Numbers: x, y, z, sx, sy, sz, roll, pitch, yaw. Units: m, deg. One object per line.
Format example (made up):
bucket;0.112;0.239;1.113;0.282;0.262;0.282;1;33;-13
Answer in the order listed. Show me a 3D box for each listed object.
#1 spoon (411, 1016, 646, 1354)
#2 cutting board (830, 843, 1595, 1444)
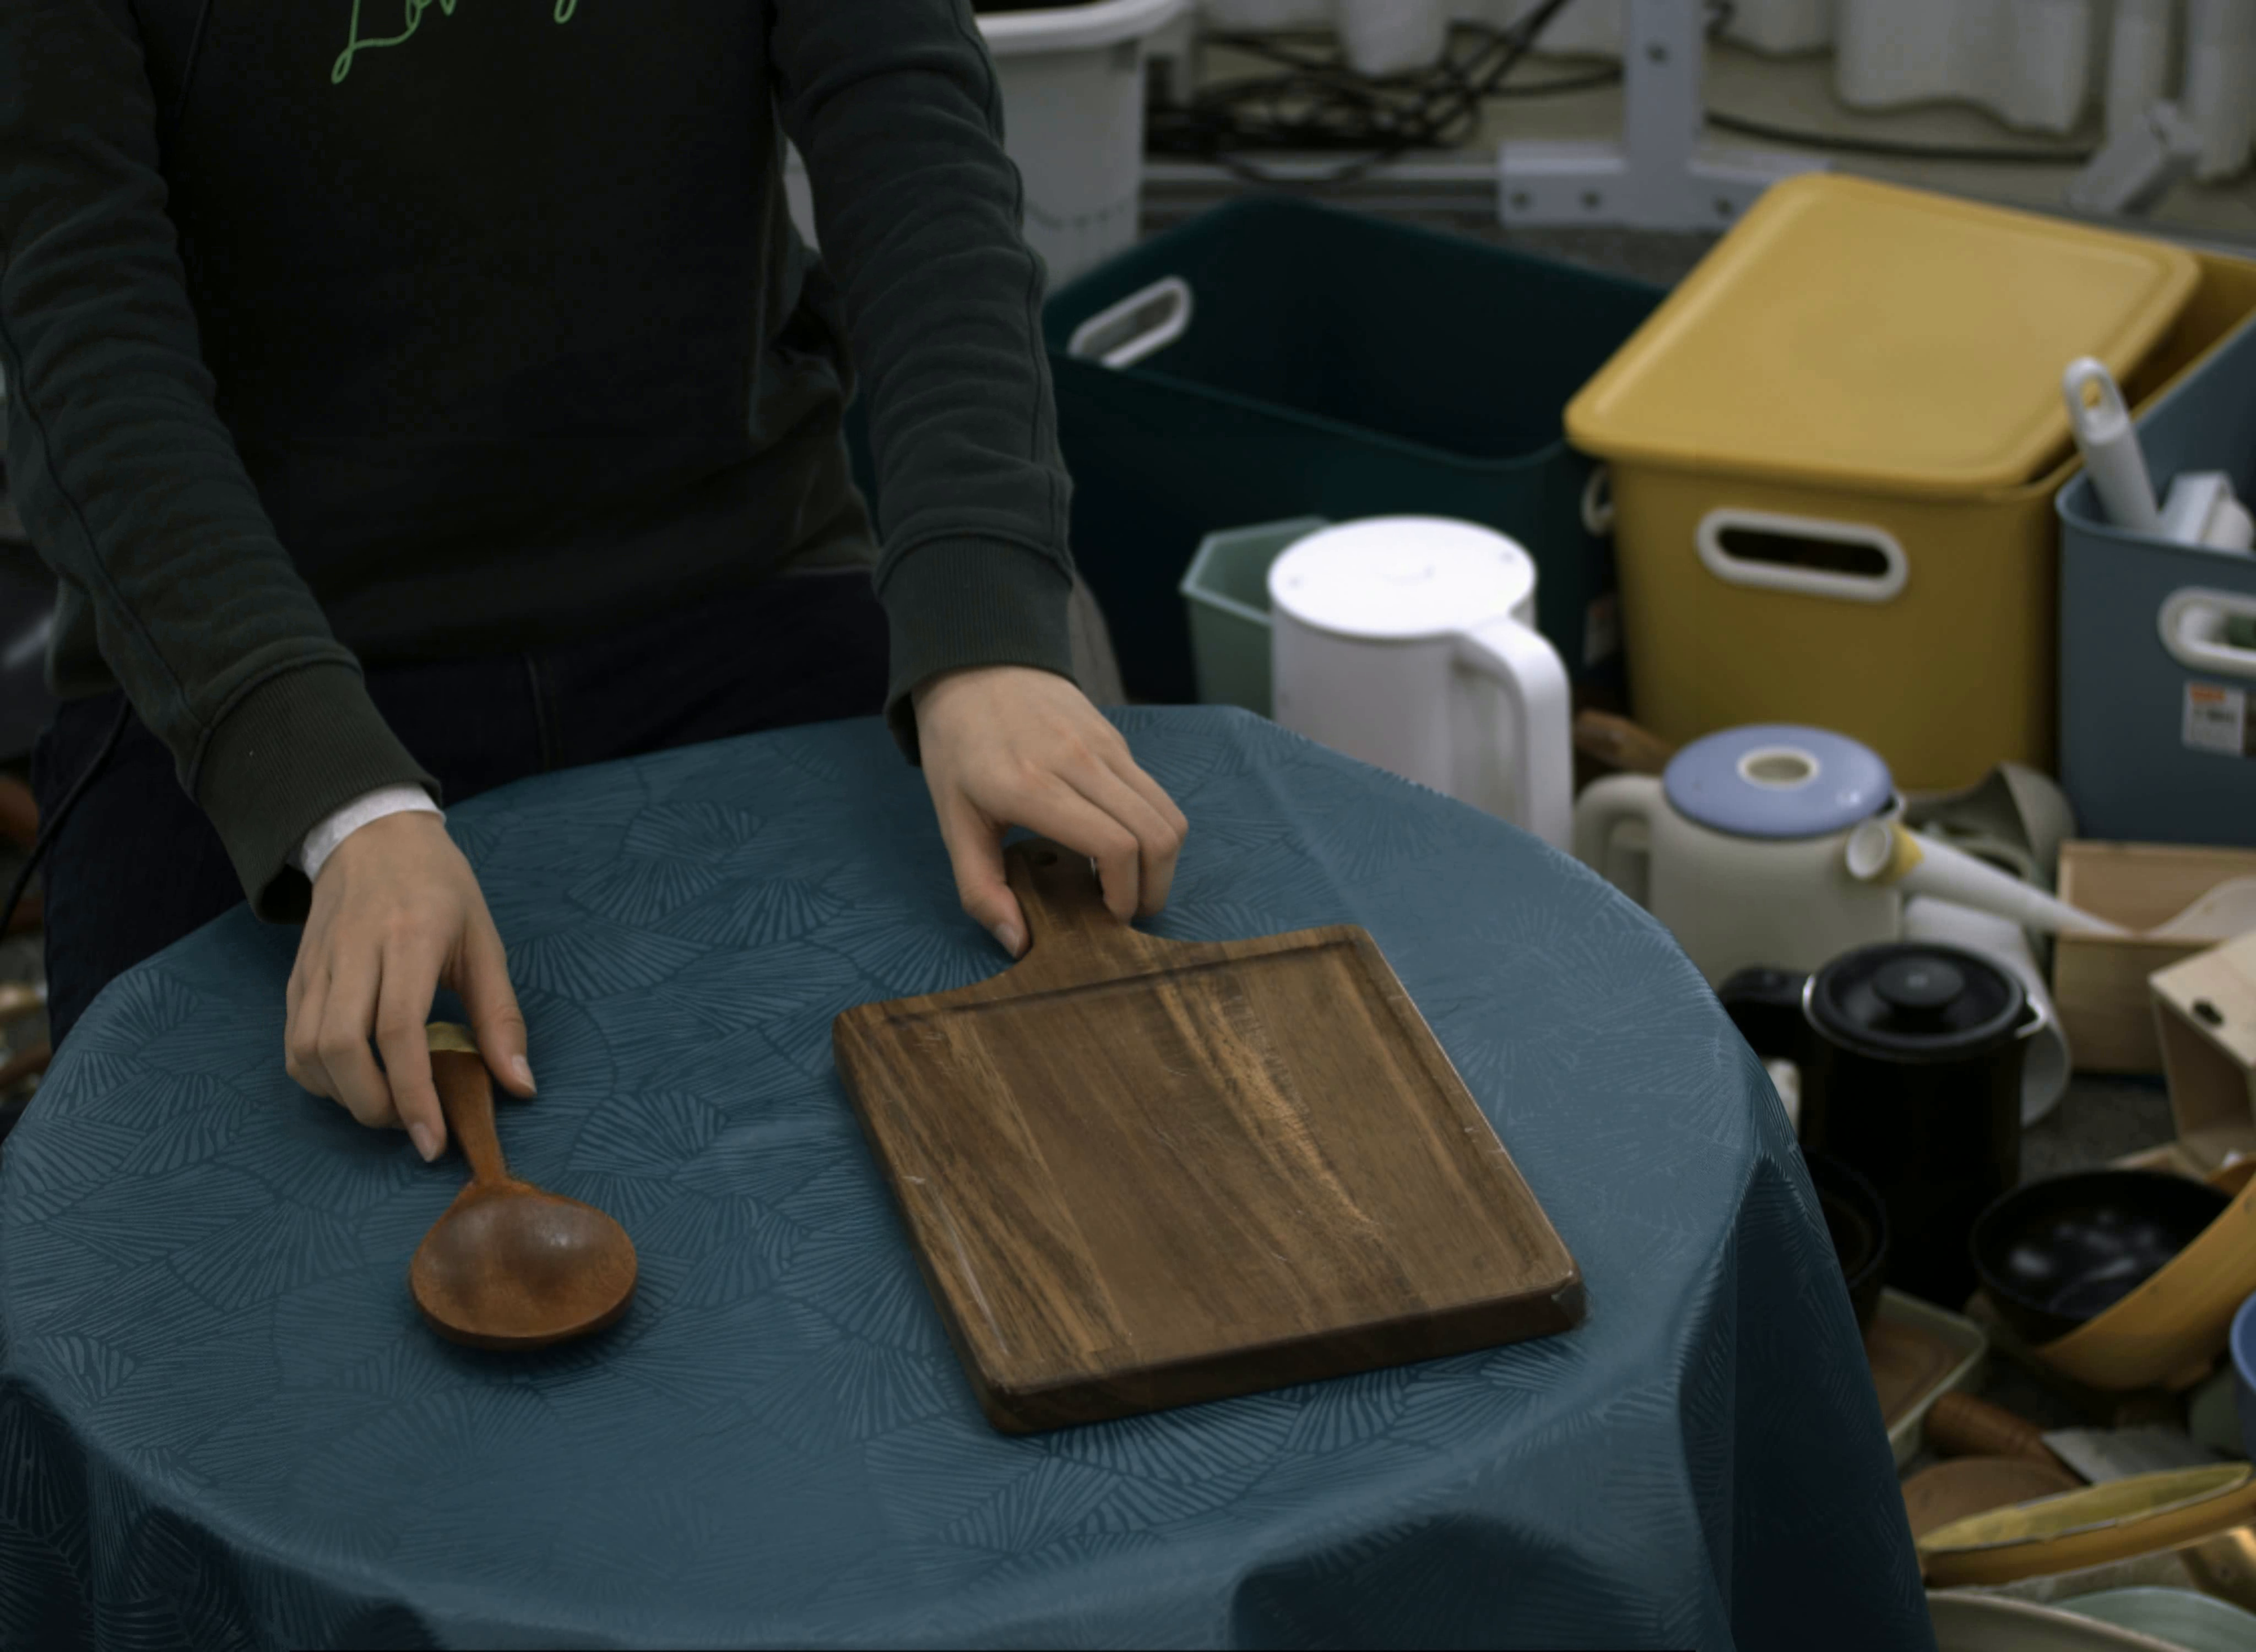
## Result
spoon;-0.210;0.120;1.866;0.075;0.017;0.218;-11;29;-12
cutting board;0.010;0.091;1.900;0.201;0.023;0.356;-10;28;-11
